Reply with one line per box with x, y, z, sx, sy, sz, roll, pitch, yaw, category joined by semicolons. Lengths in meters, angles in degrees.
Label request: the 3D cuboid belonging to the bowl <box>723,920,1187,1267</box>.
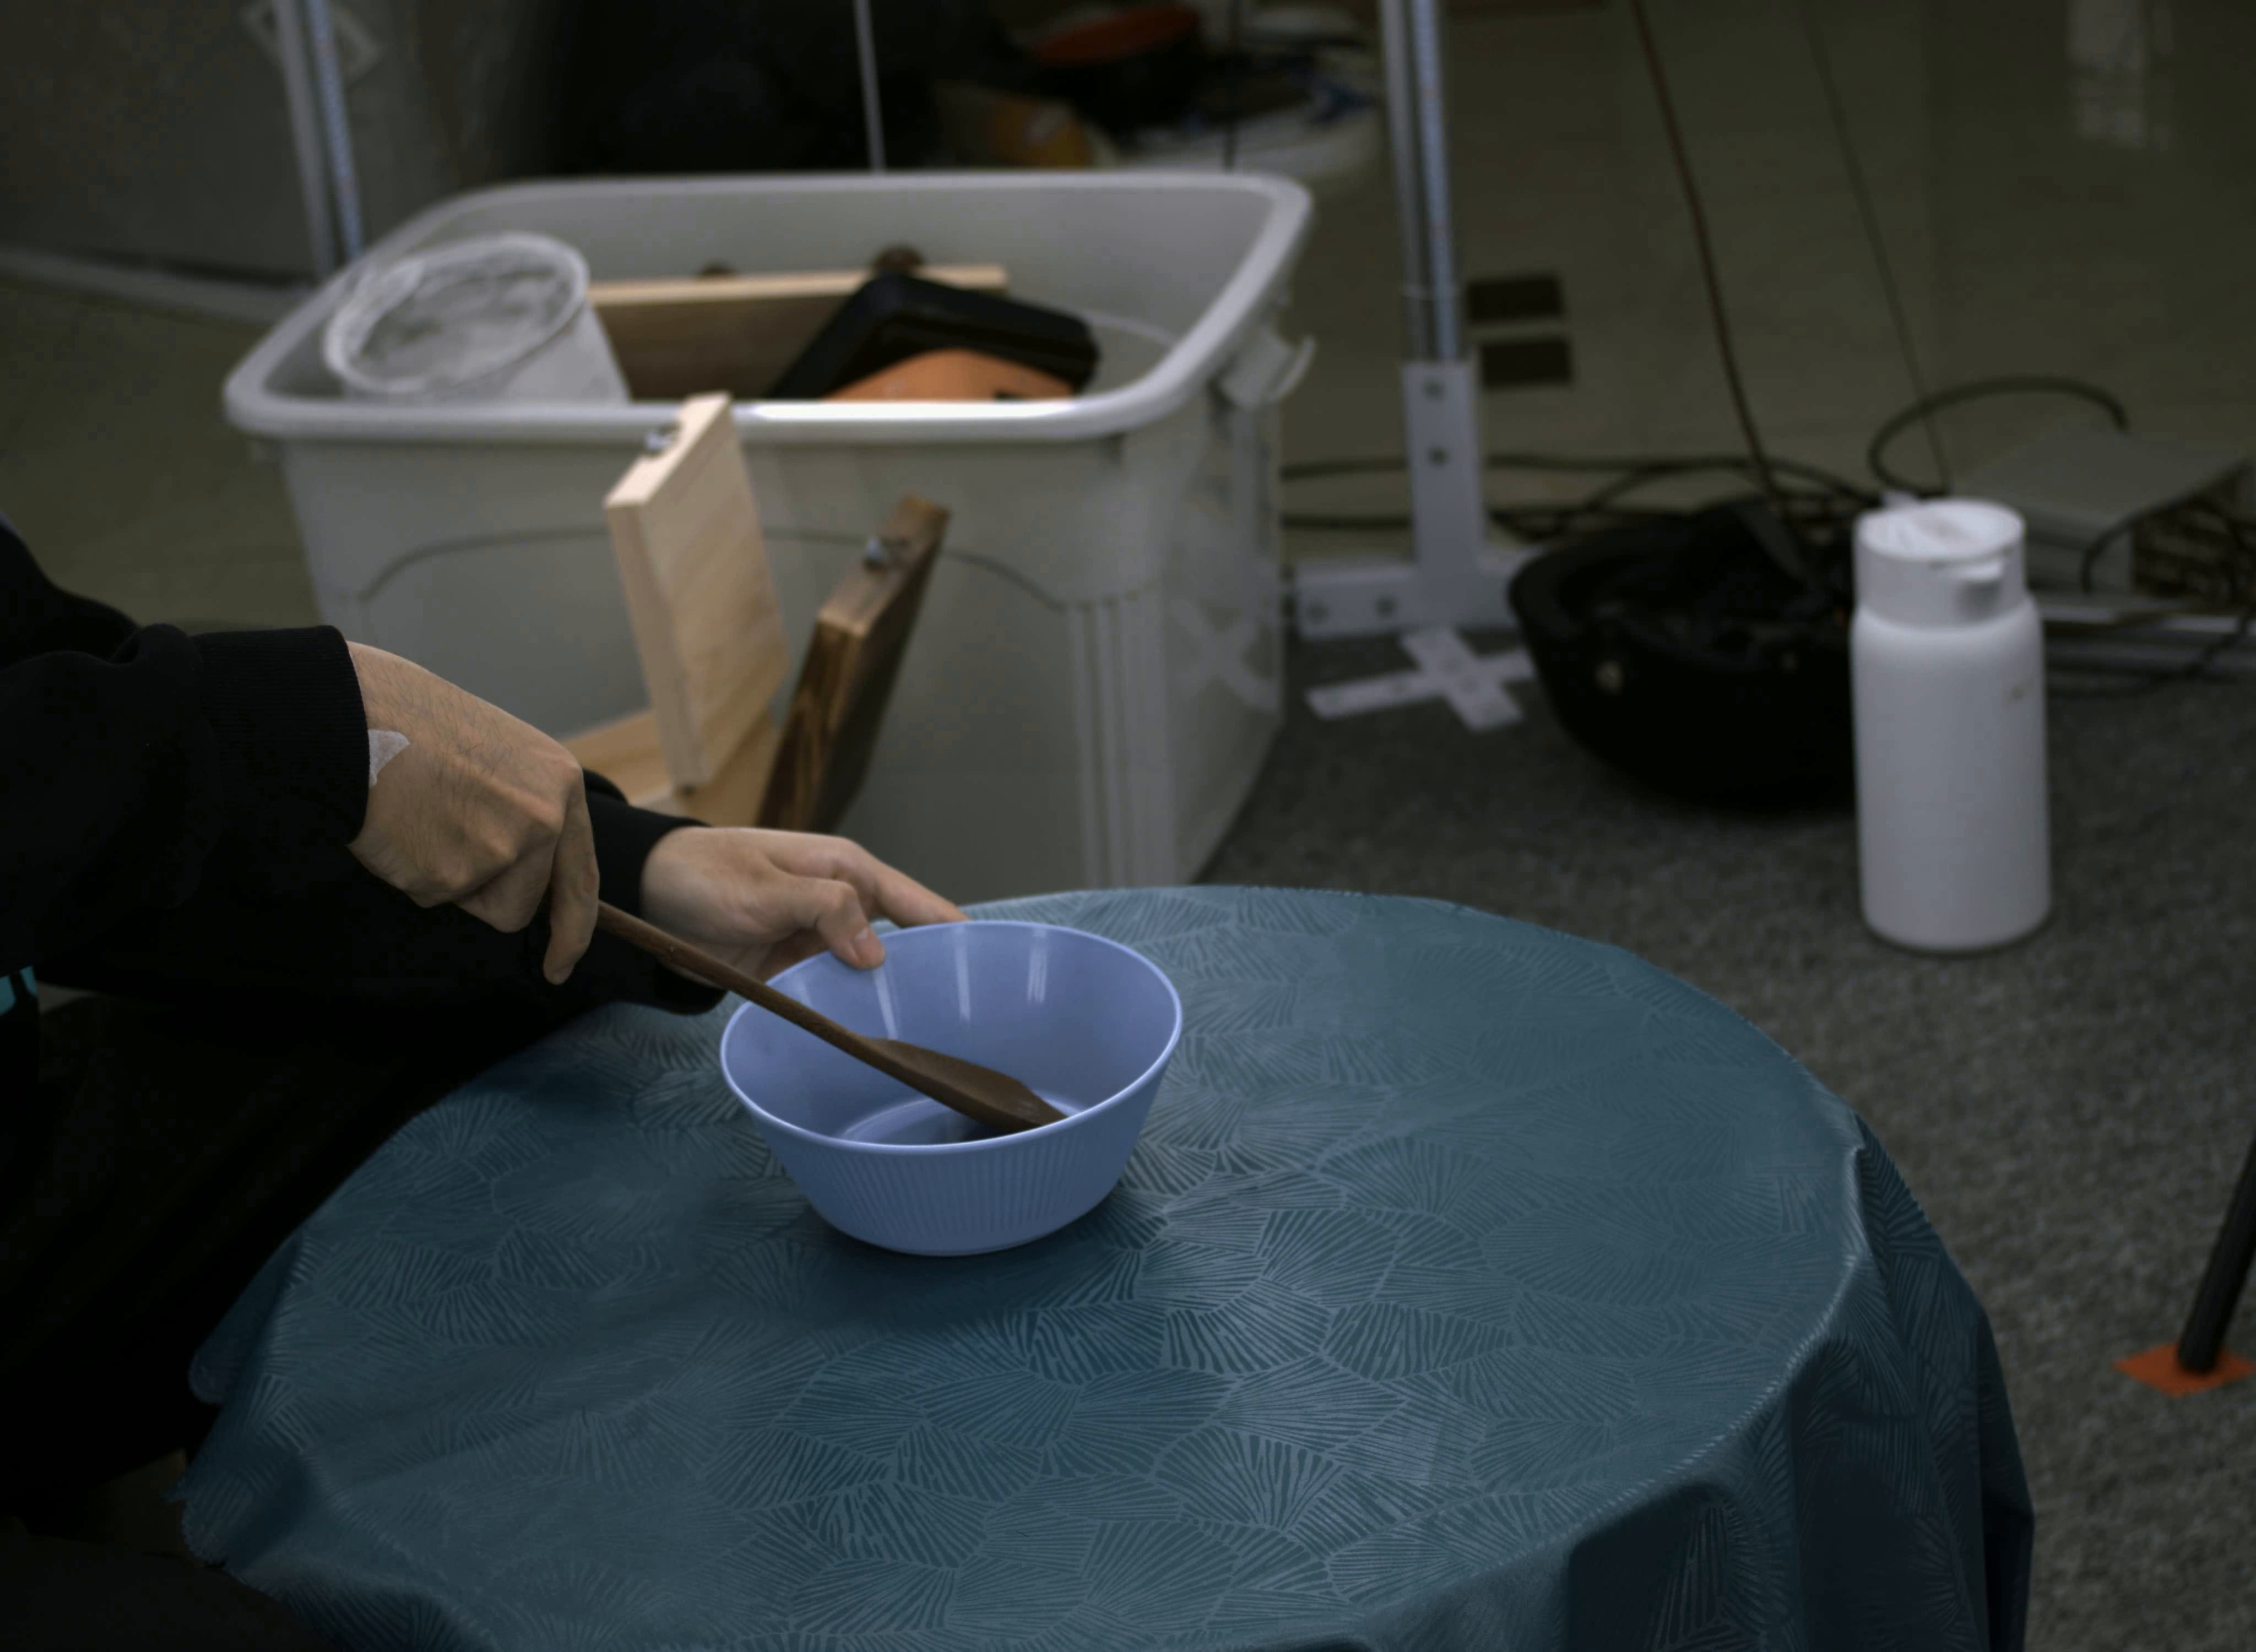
-0.063;0.109;2.151;0.176;0.071;0.173;-3;31;2;bowl

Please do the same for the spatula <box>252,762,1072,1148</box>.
-0.159;0.049;2.068;0.389;0.016;0.095;27;1;-36;spatula
